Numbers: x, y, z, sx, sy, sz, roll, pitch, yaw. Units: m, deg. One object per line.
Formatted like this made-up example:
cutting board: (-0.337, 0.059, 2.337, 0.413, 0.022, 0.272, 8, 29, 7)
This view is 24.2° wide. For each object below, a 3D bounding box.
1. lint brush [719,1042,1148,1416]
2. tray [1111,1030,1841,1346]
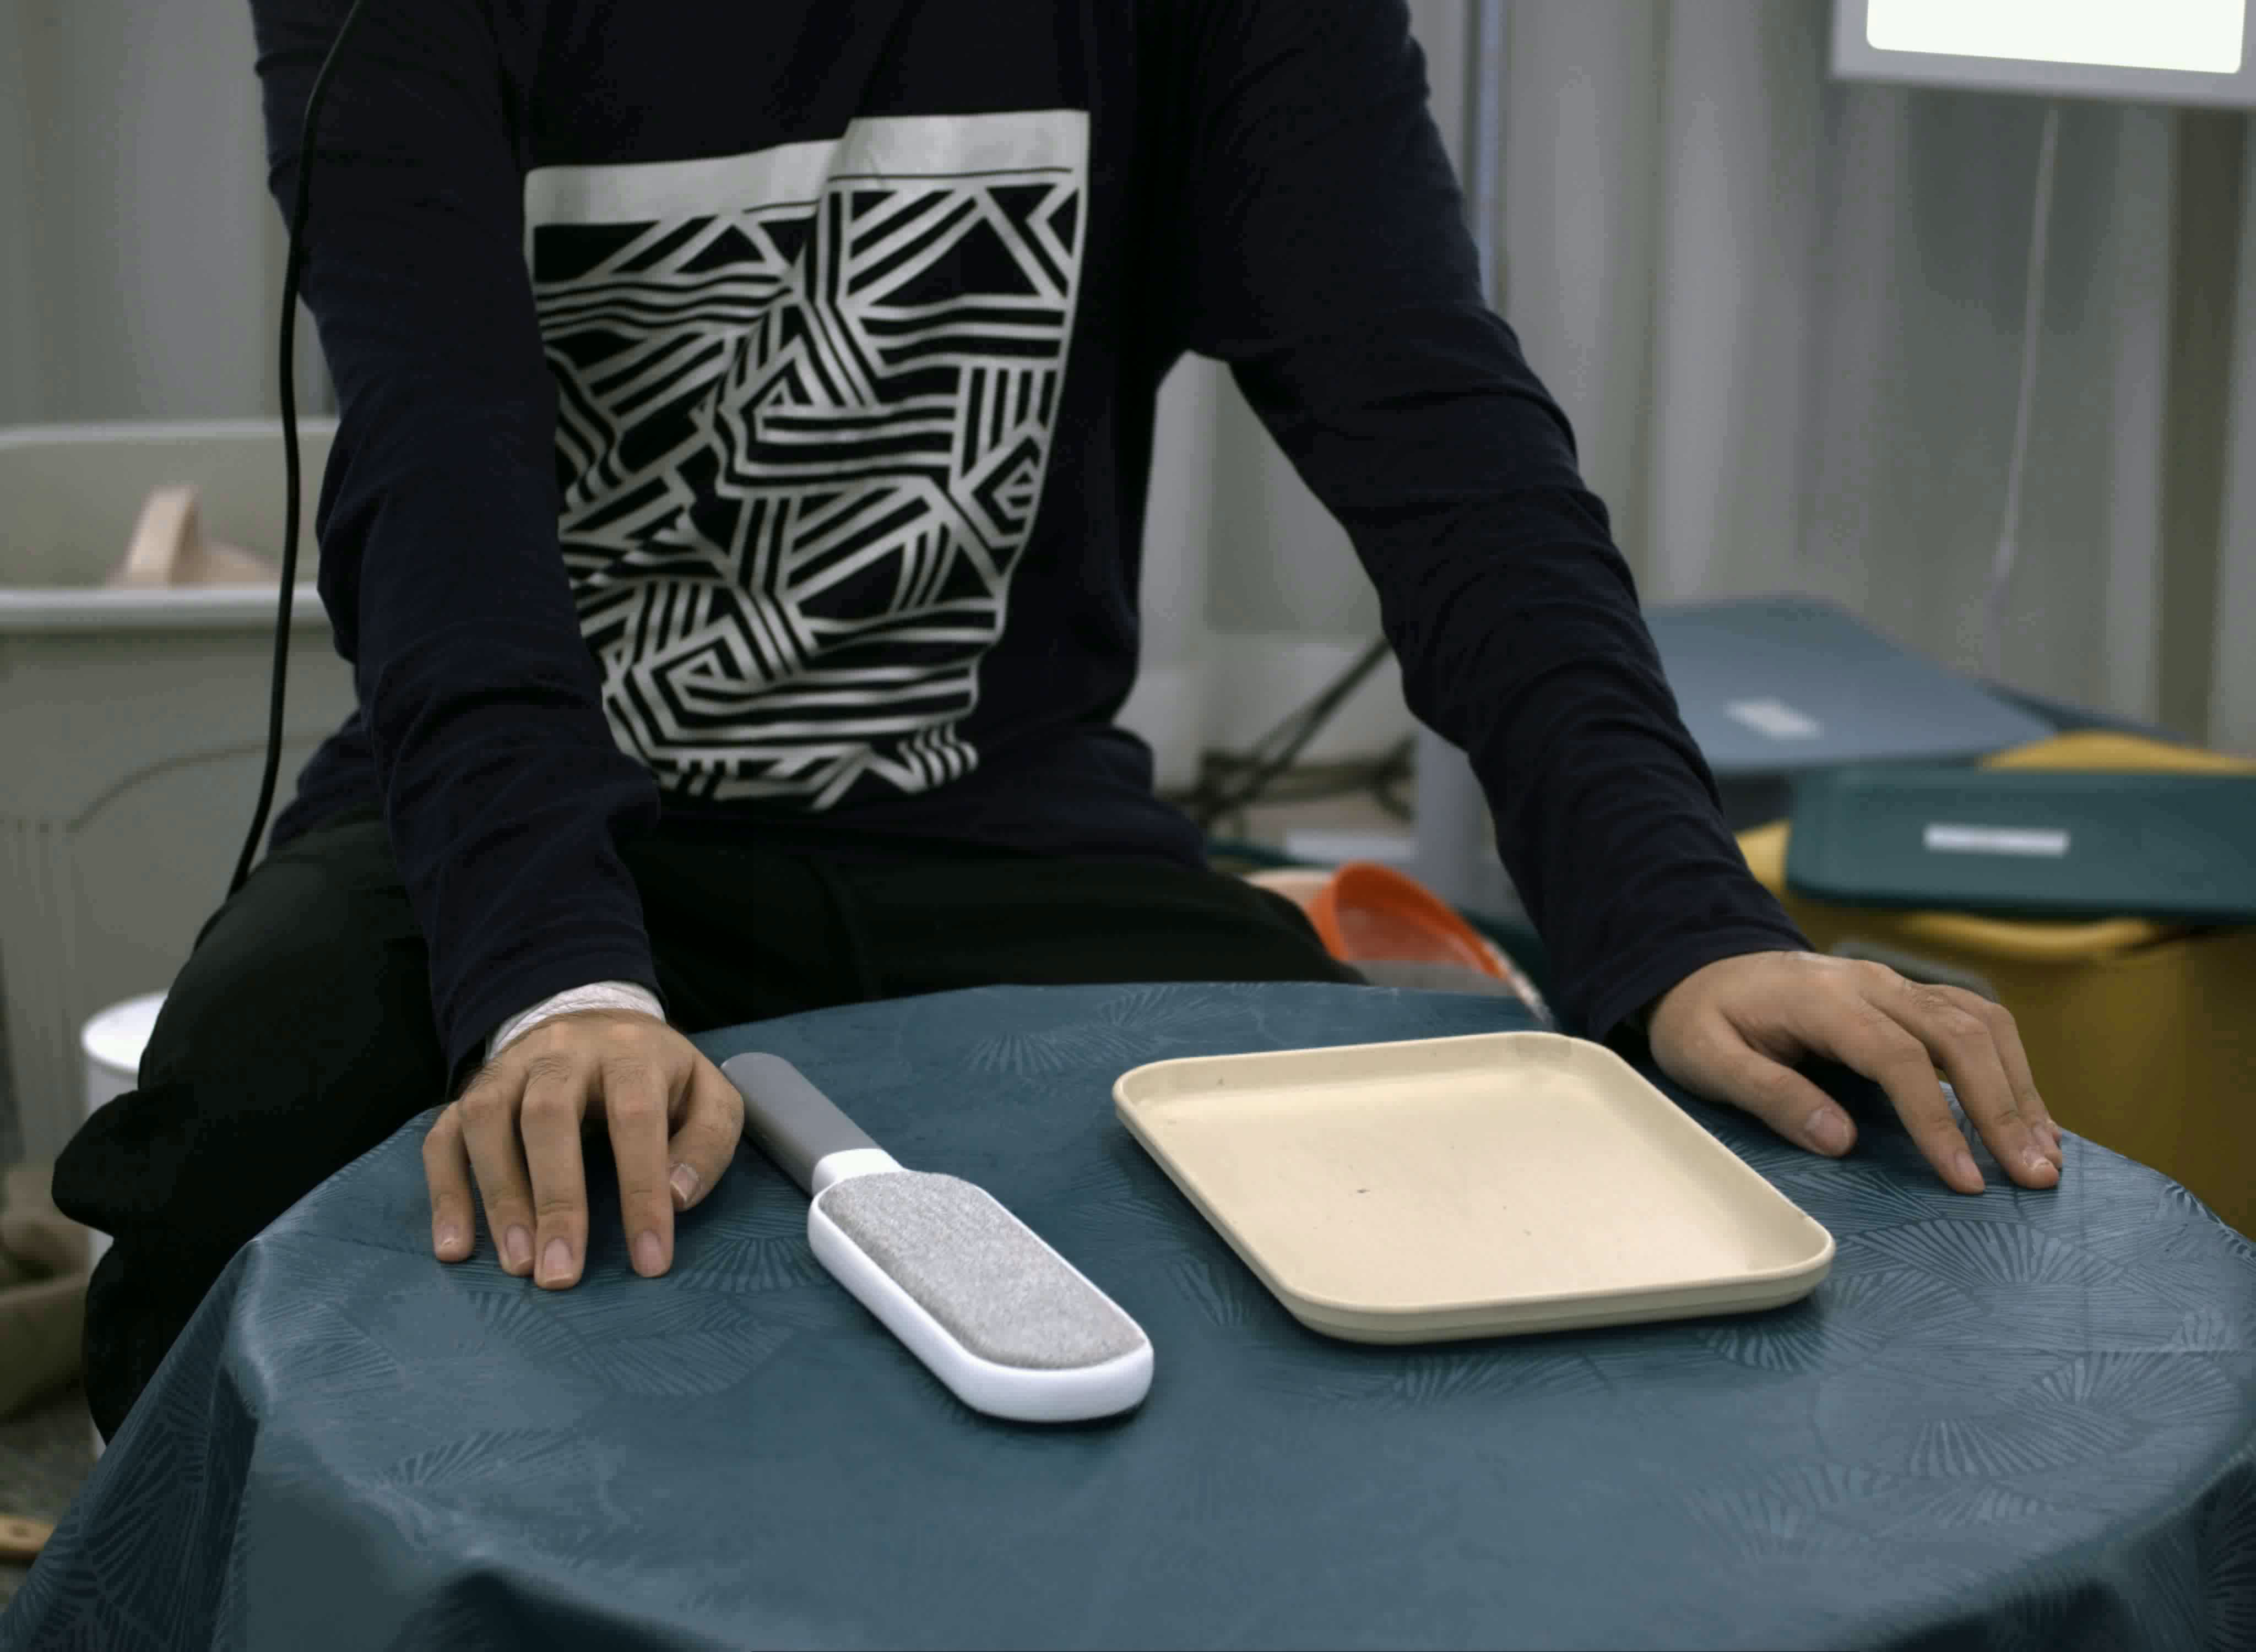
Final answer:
lint brush: (-0.066, 0.115, 1.562, 0.060, 0.021, 0.305, -11, 18, -19)
tray: (0.101, 0.109, 1.609, 0.171, 0.017, 0.237, -5, 16, -16)
